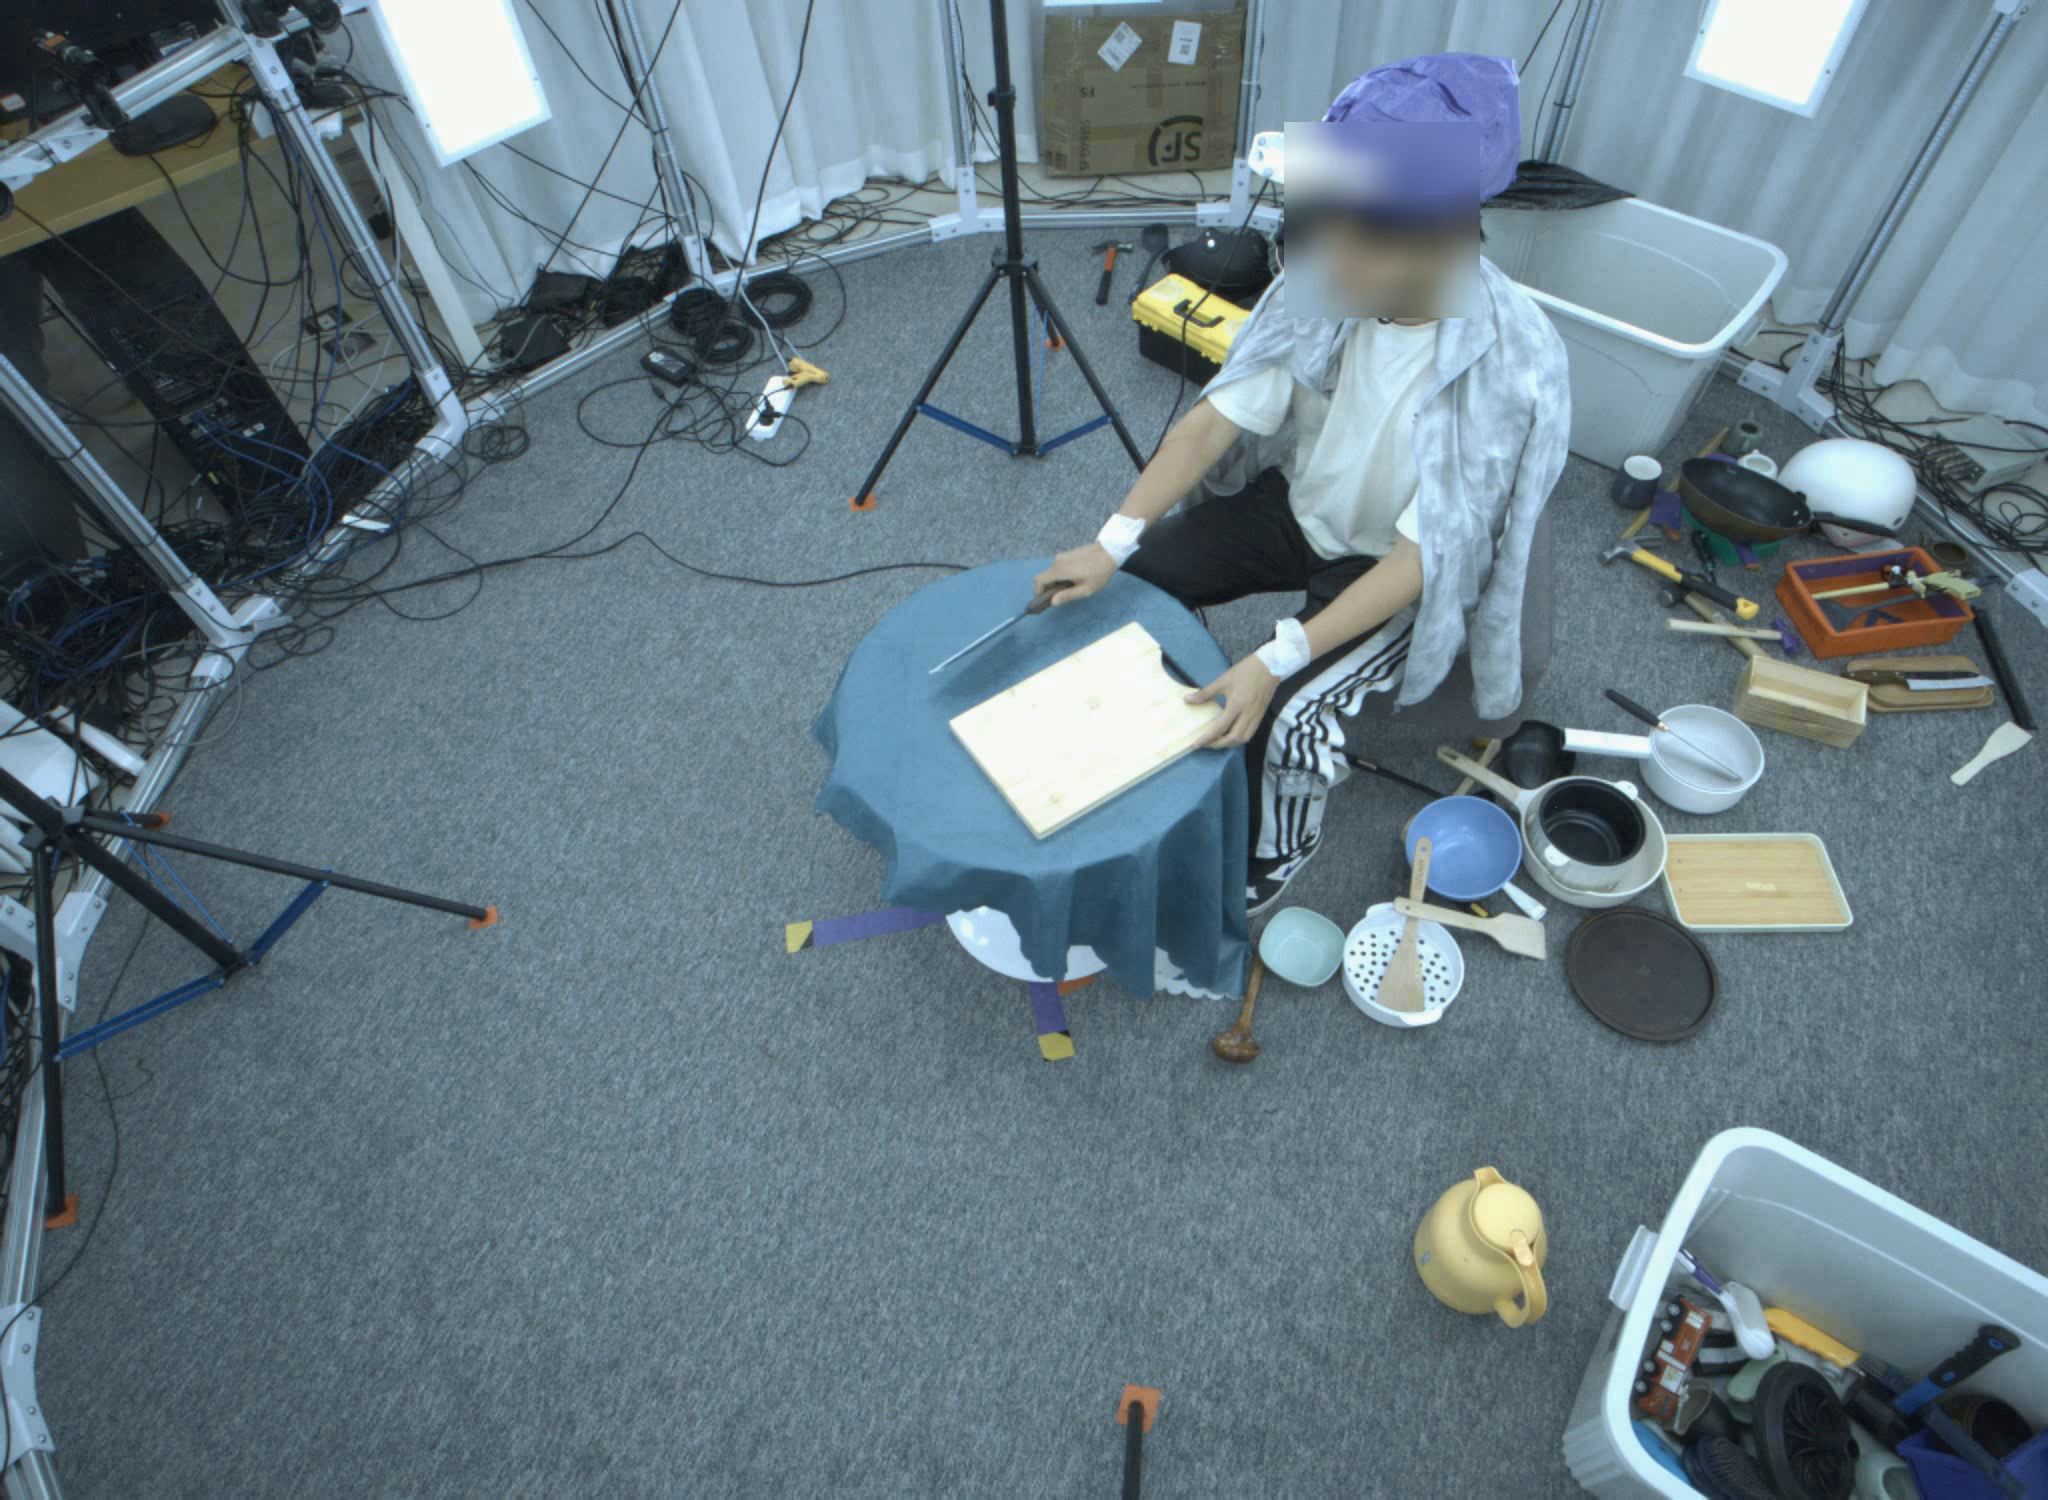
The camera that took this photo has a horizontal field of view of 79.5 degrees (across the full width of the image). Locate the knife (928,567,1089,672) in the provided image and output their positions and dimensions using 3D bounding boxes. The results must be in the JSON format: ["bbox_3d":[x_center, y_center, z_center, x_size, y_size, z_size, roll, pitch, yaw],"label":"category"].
[{"bbox_3d":[-0.022,-0.198,1.876,0.302,0.067,0.024,-36,104,-24],"label":"knife"}]

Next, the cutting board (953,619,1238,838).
[{"bbox_3d":[0.101,-0.040,1.805,0.351,0.024,0.246,-30,60,-18],"label":"cutting board"}]
